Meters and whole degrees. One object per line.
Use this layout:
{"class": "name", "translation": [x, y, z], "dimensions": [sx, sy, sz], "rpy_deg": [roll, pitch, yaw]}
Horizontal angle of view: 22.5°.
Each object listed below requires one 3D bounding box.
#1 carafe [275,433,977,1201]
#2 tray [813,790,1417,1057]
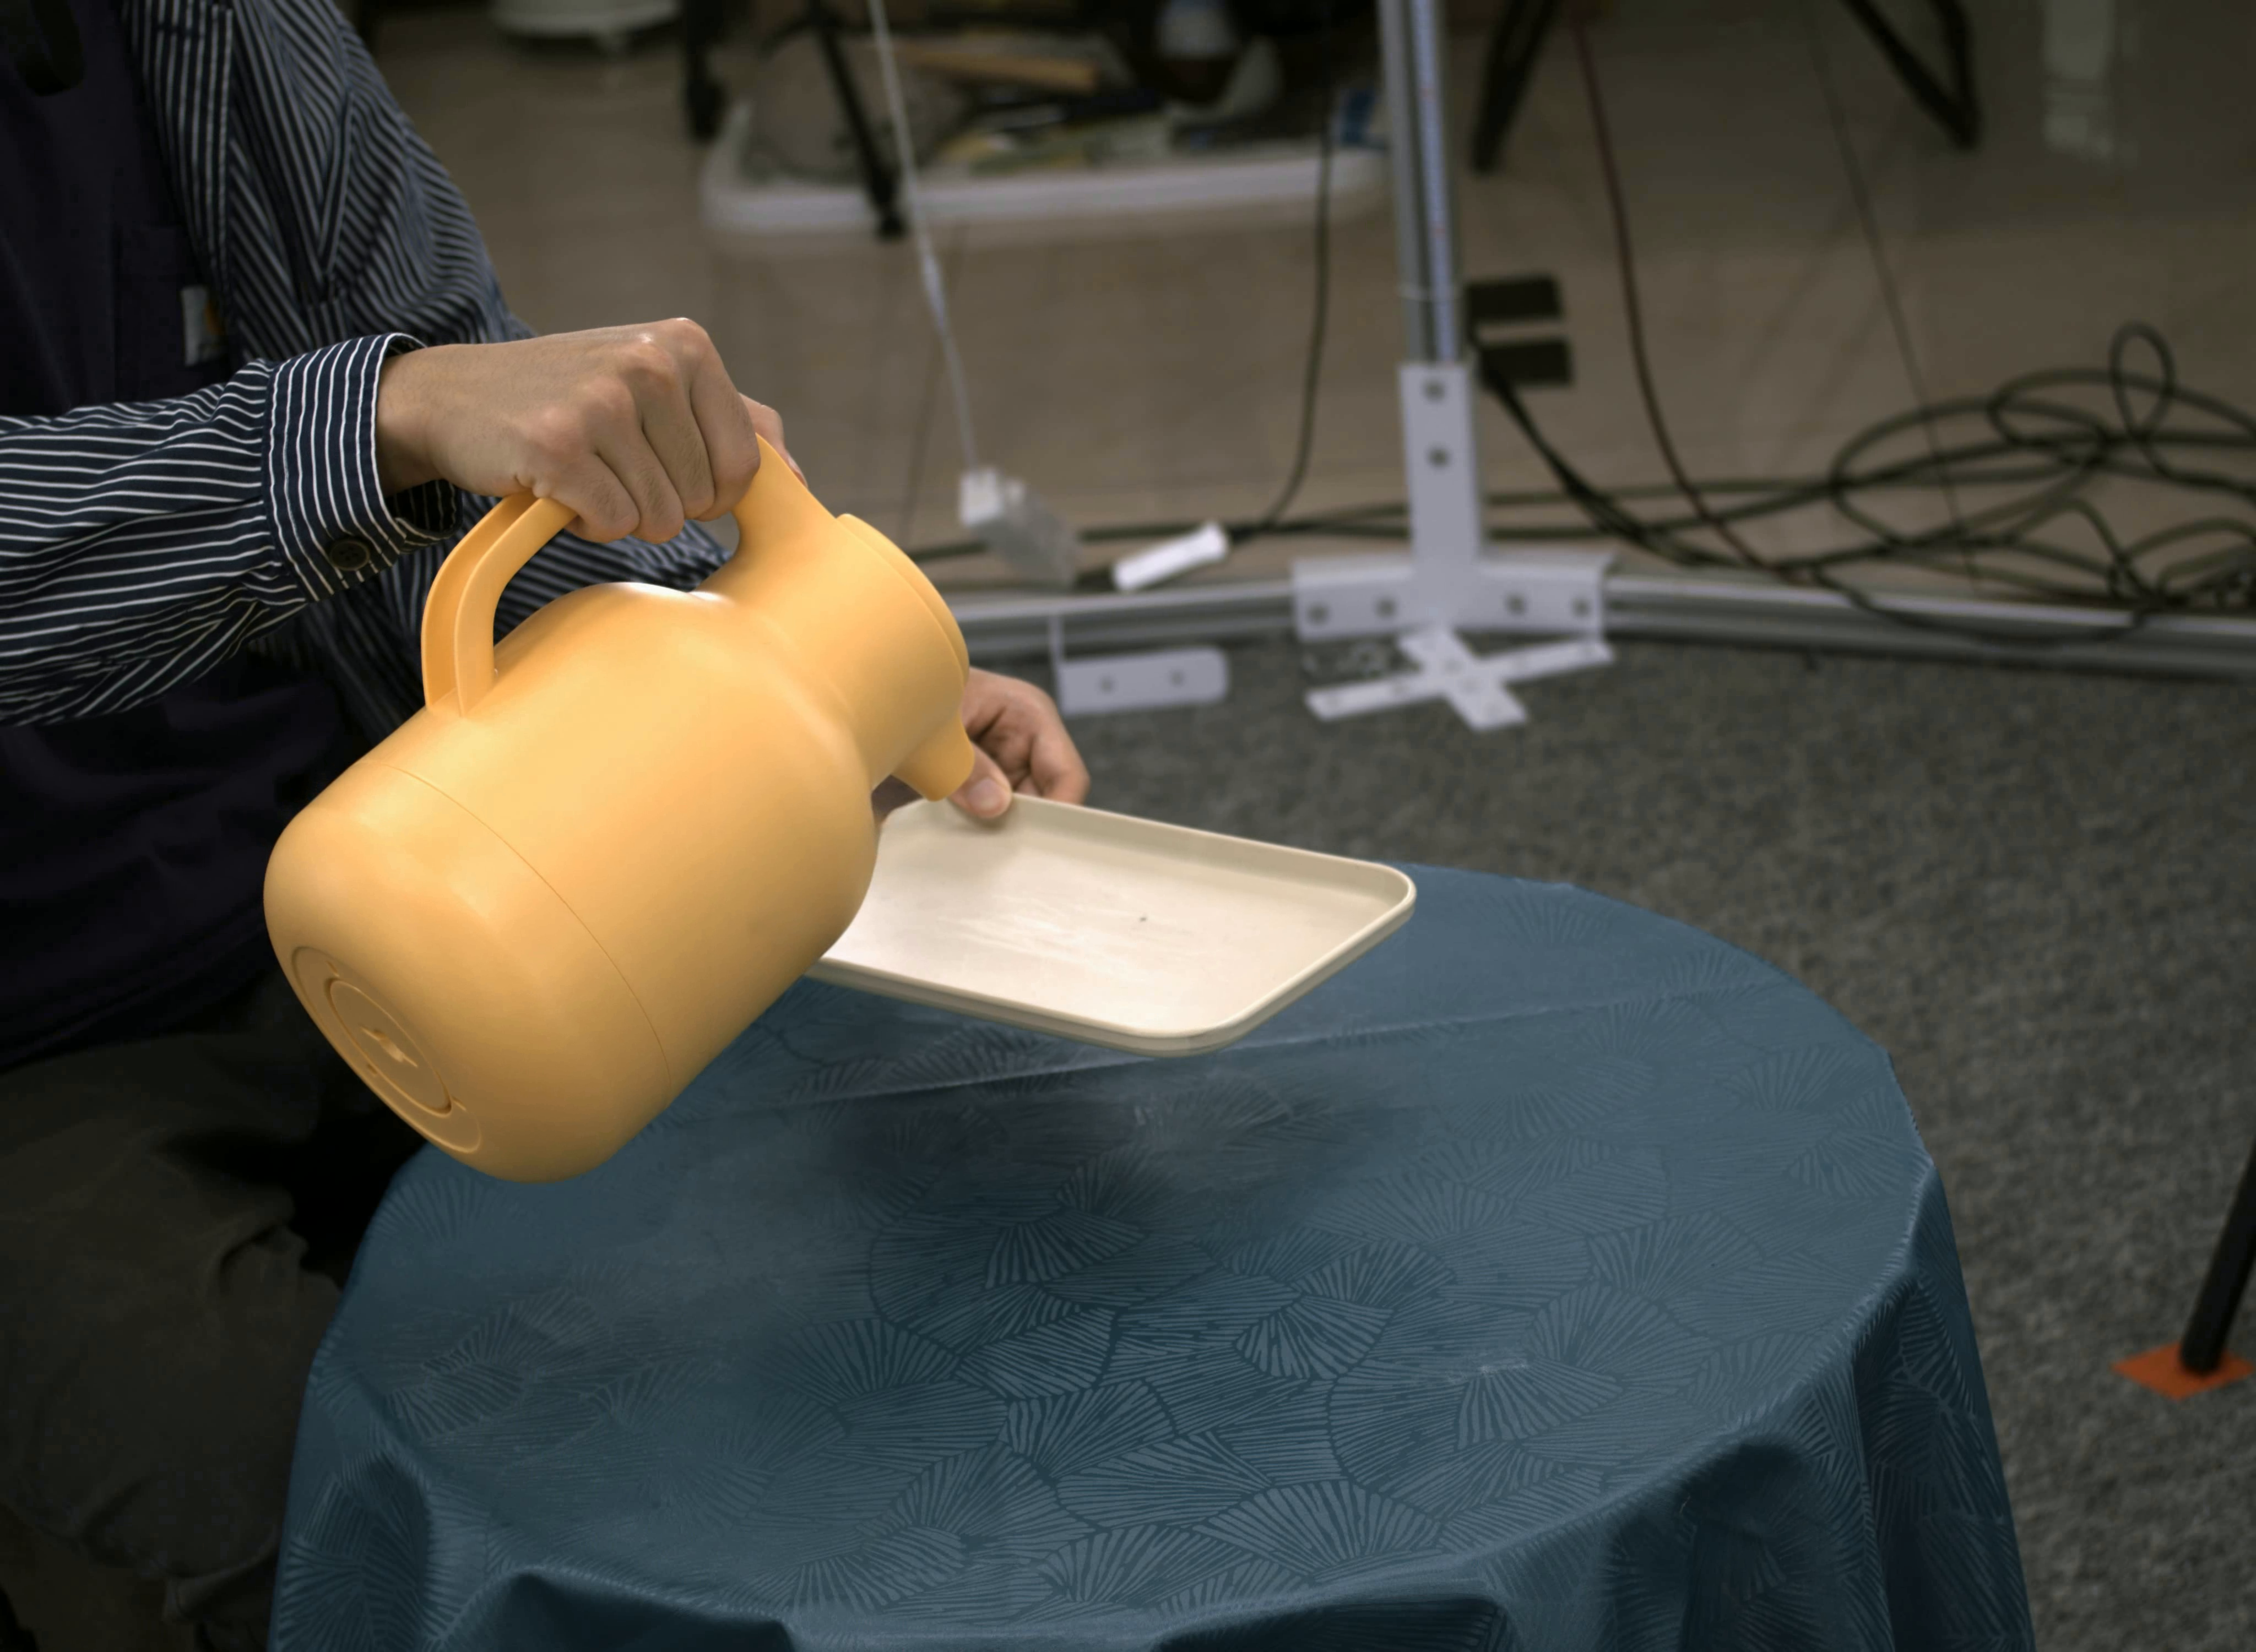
{"class": "carafe", "translation": [-0.180, -0.013, 2.023], "dimensions": [0.258, 0.205, 0.162], "rpy_deg": [-44, 31, -22]}
{"class": "tray", "translation": [-0.022, 0.037, 2.171], "dimensions": [0.238, 0.018, 0.169], "rpy_deg": [12, 27, 33]}
